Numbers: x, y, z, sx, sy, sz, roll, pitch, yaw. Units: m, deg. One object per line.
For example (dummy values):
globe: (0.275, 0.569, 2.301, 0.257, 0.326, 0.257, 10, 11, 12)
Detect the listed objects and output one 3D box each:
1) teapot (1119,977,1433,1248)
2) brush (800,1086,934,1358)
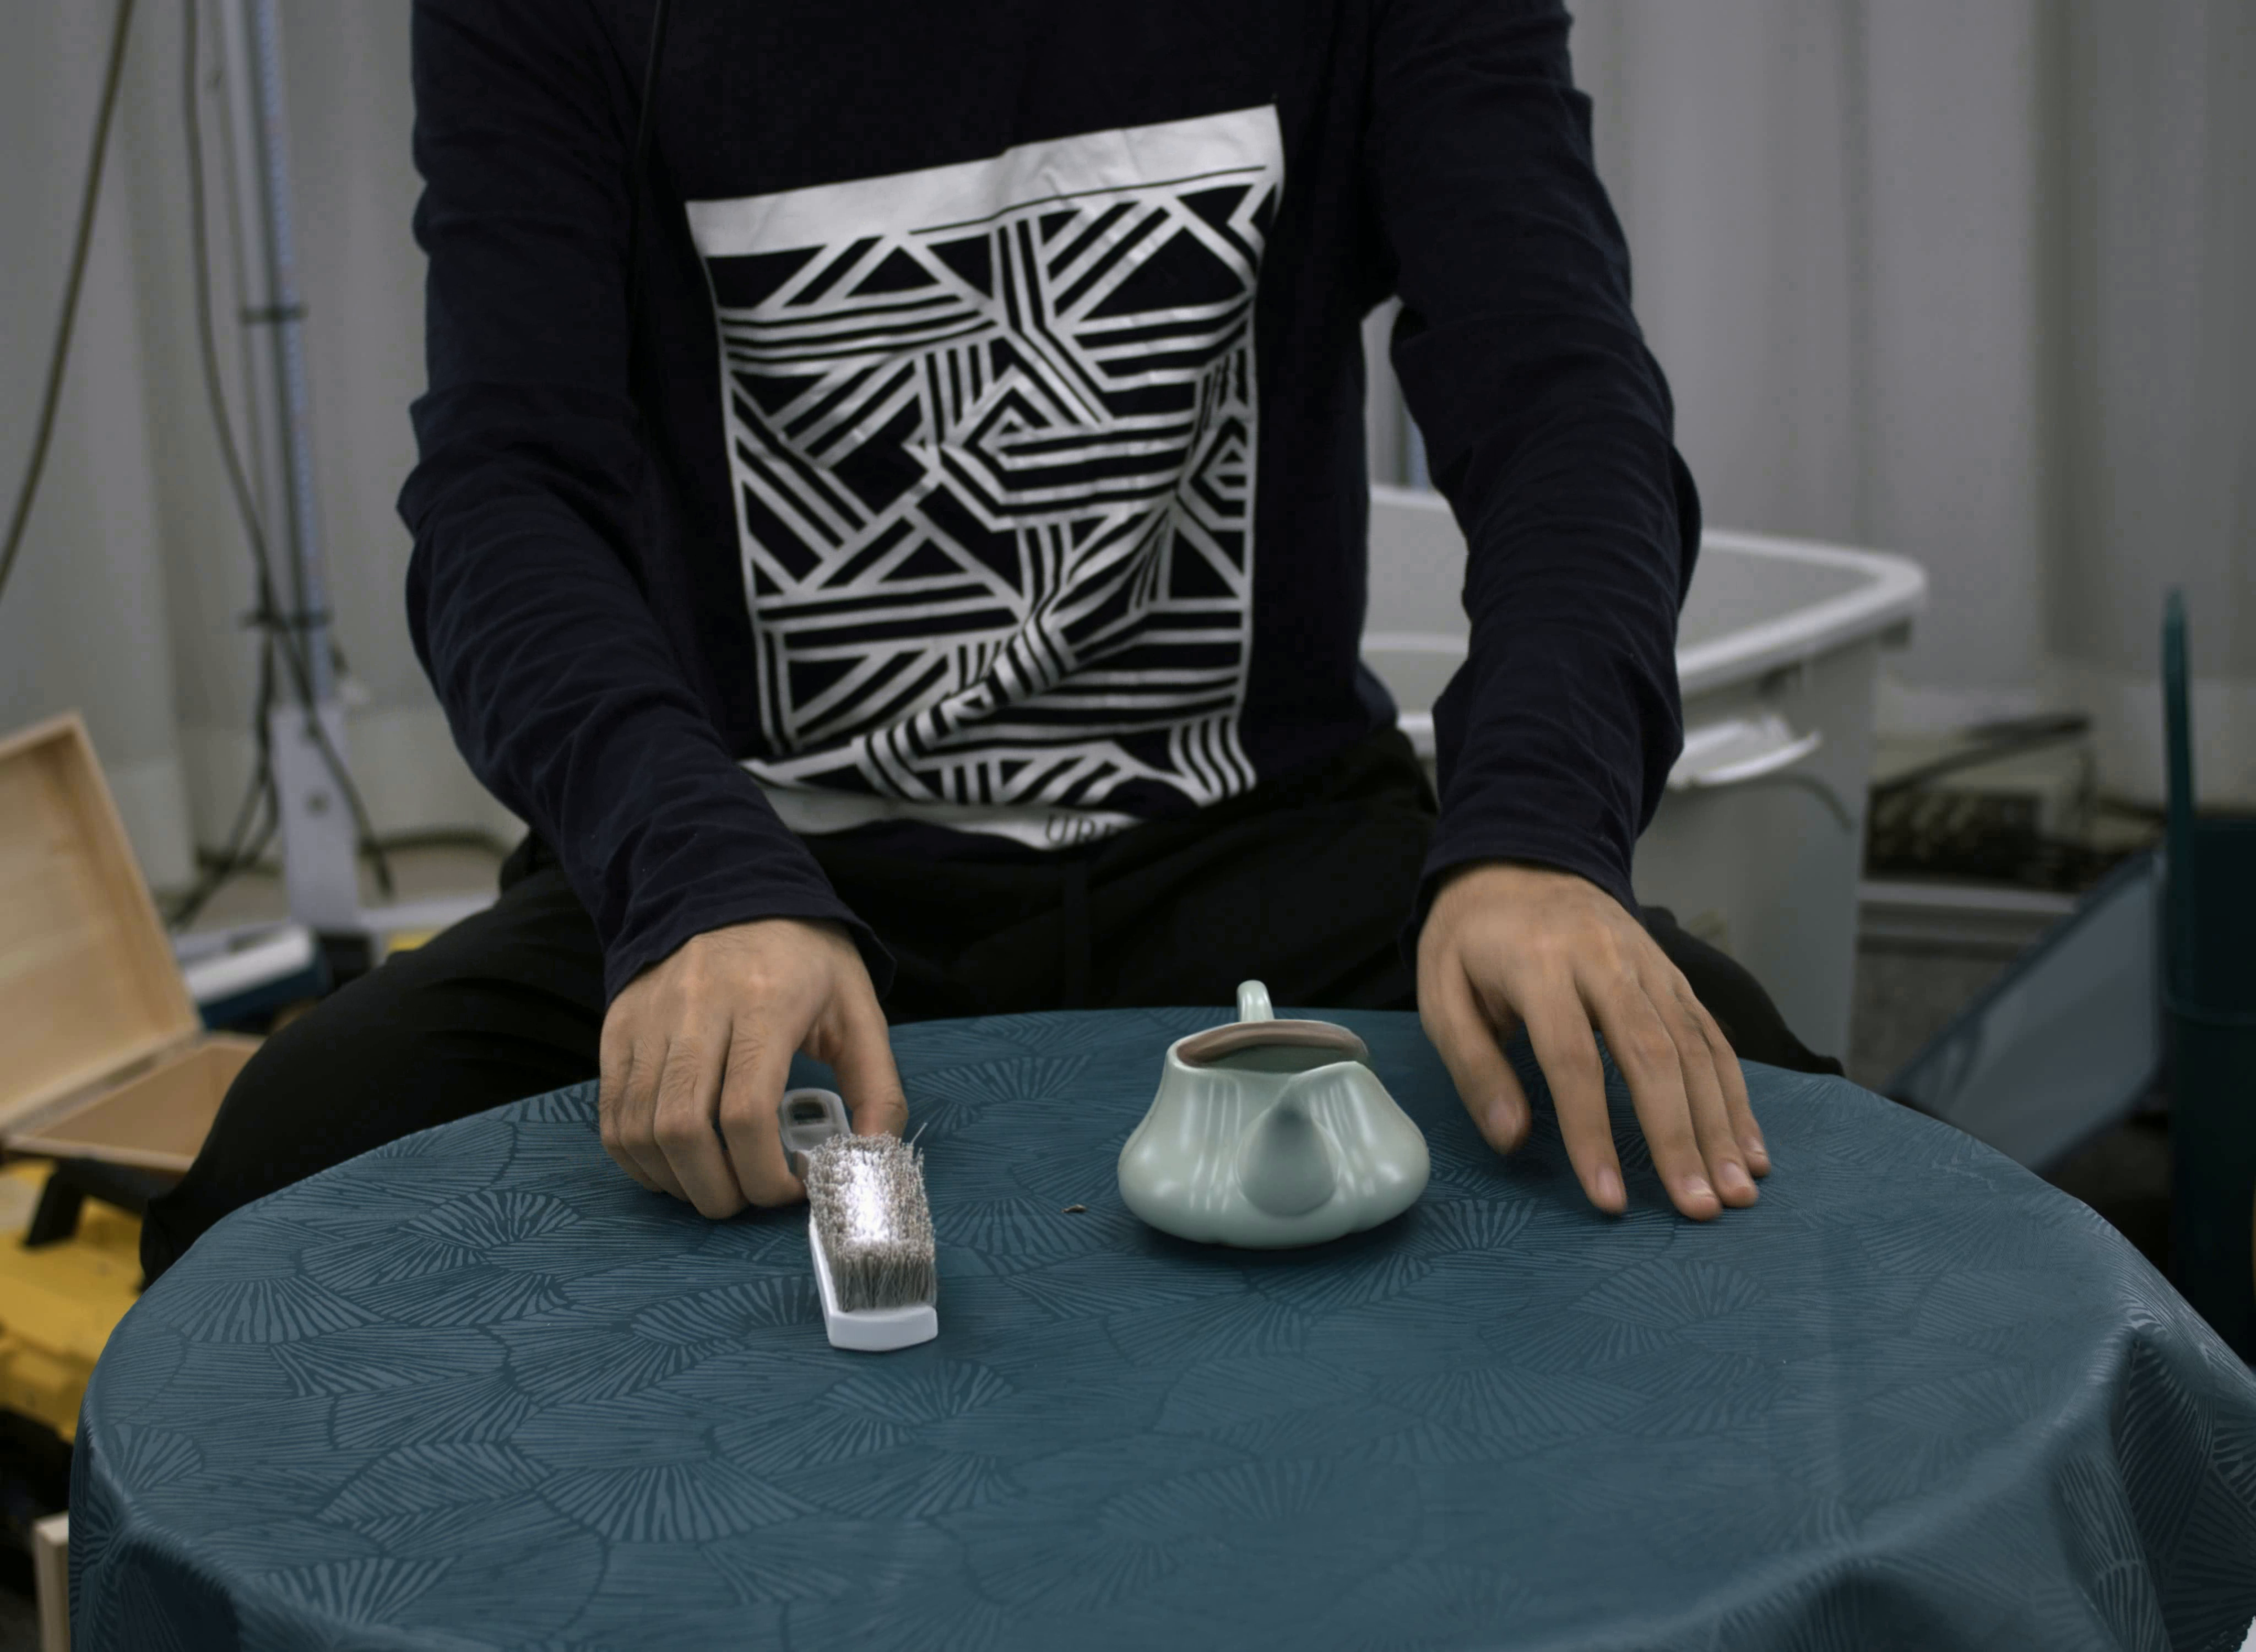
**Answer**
teapot: (0.044, 0.091, 1.678, 0.096, 0.061, 0.138, -7, 16, -5)
brush: (-0.086, 0.102, 1.687, 0.034, 0.050, 0.245, -8, 16, -4)
